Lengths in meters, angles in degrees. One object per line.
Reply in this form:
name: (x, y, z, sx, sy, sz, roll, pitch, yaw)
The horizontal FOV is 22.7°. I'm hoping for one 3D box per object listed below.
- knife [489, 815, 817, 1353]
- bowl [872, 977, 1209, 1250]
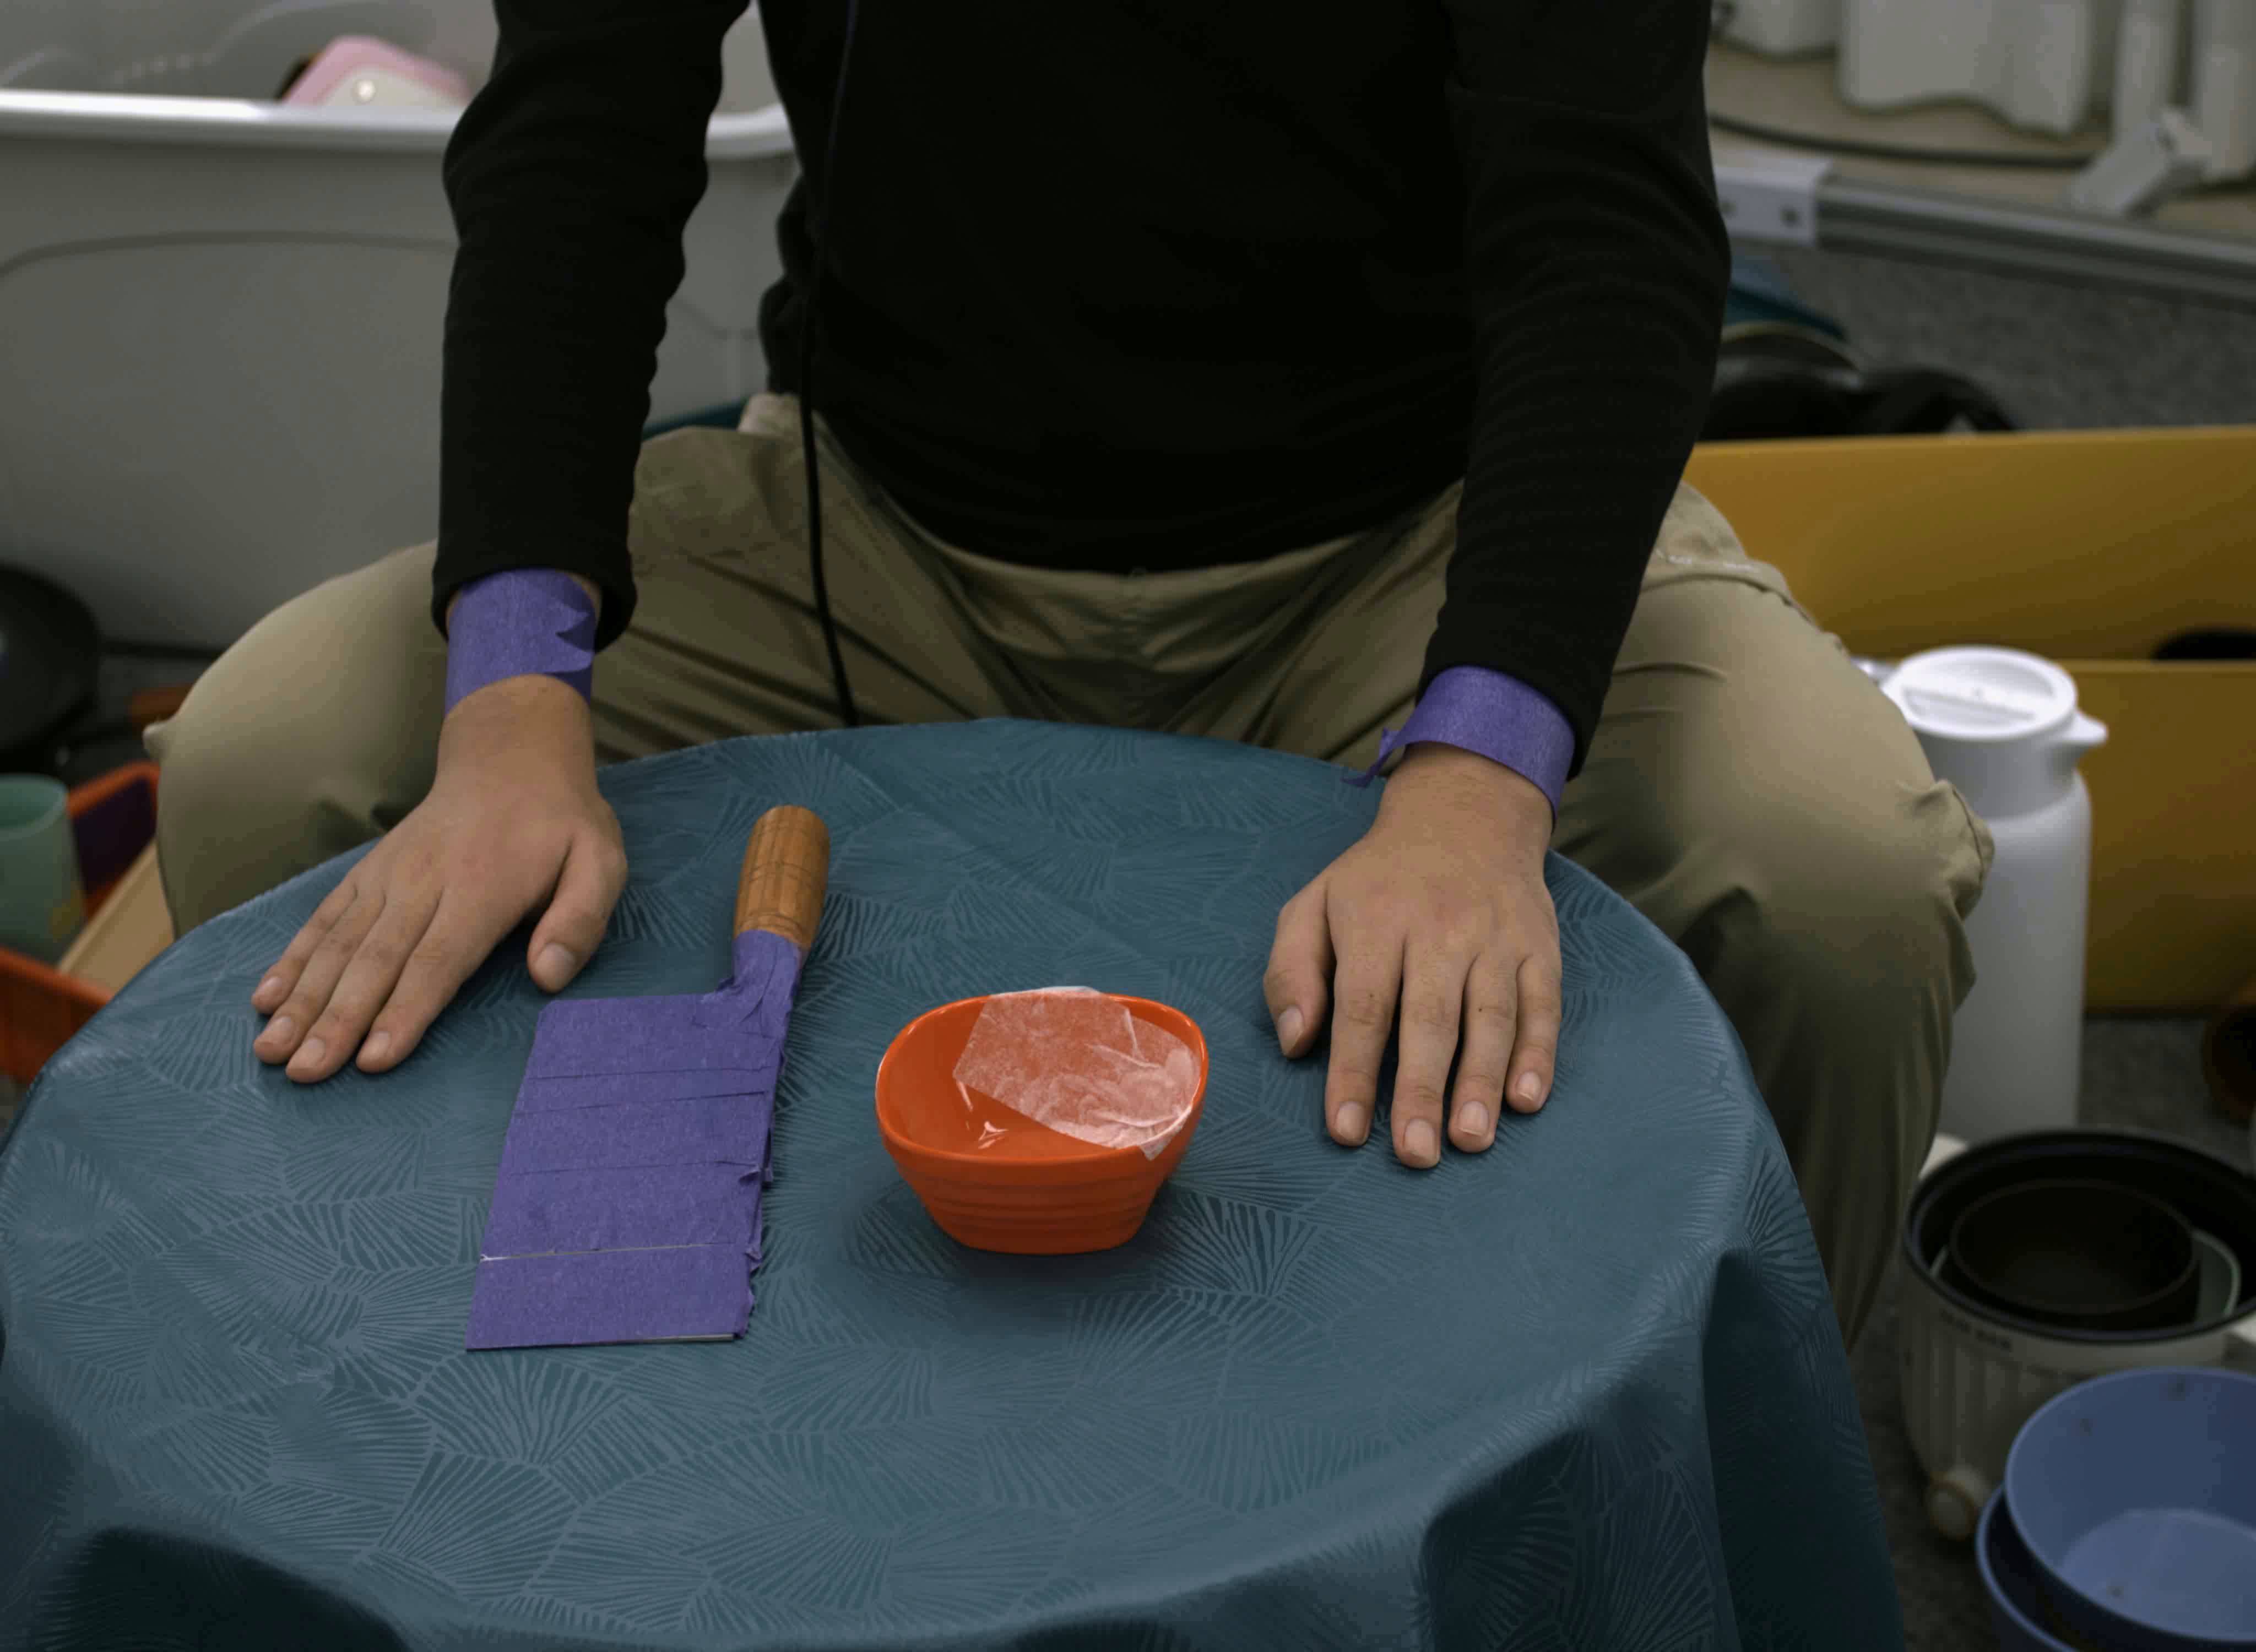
knife: (-0.161, 0.084, 1.919, 0.103, 0.032, 0.320, -1, 28, 2)
bowl: (-0.027, 0.099, 1.843, 0.118, 0.051, 0.121, -4, 30, 2)
